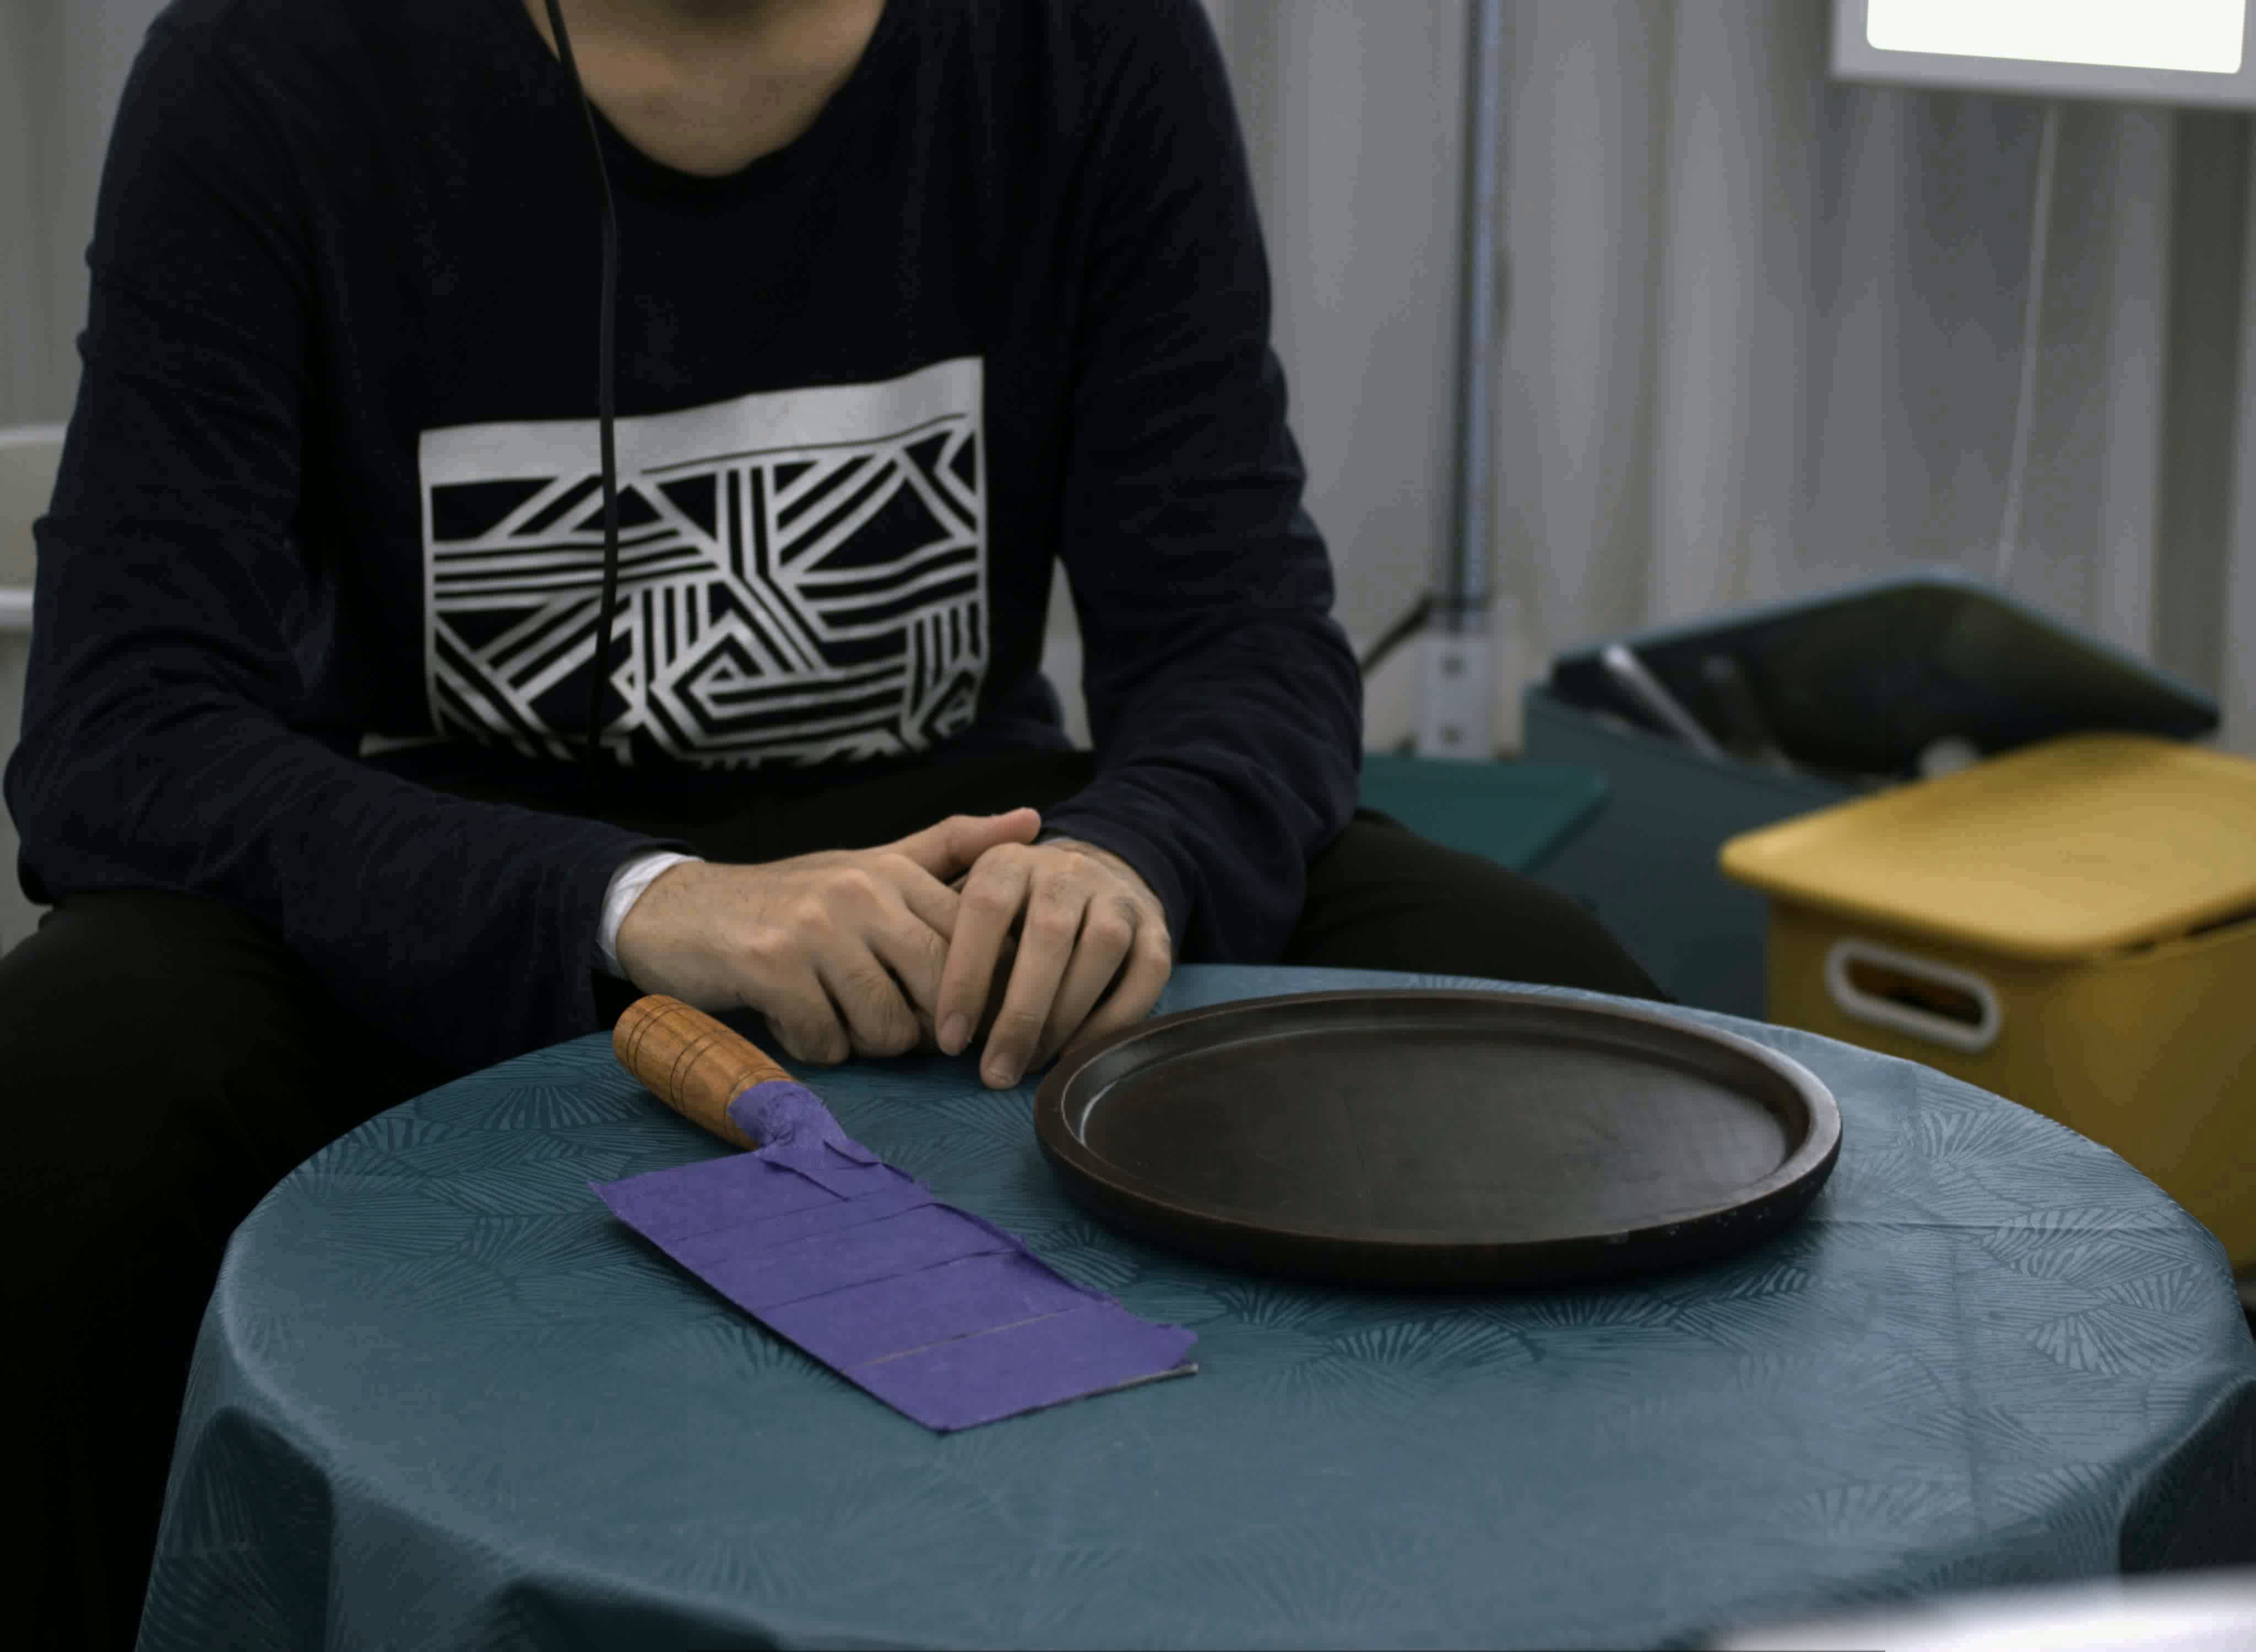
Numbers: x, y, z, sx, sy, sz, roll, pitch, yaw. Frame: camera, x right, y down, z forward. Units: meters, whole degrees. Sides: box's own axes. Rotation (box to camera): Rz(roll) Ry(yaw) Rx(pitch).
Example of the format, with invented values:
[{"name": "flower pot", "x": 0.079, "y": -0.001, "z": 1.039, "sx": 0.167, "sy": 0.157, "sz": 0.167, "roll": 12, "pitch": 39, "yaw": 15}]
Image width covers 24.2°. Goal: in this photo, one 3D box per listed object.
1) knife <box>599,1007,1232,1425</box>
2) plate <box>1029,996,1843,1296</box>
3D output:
[{"name": "knife", "x": -0.097, "y": 0.113, "z": 1.571, "sx": 0.104, "sy": 0.032, "sz": 0.311, "roll": -9, "pitch": 19, "yaw": -33}, {"name": "plate", "x": 0.096, "y": 0.096, "z": 1.641, "sx": 0.254, "sy": 0.029, "sz": 0.253, "roll": 1, "pitch": 16, "yaw": 0}]
